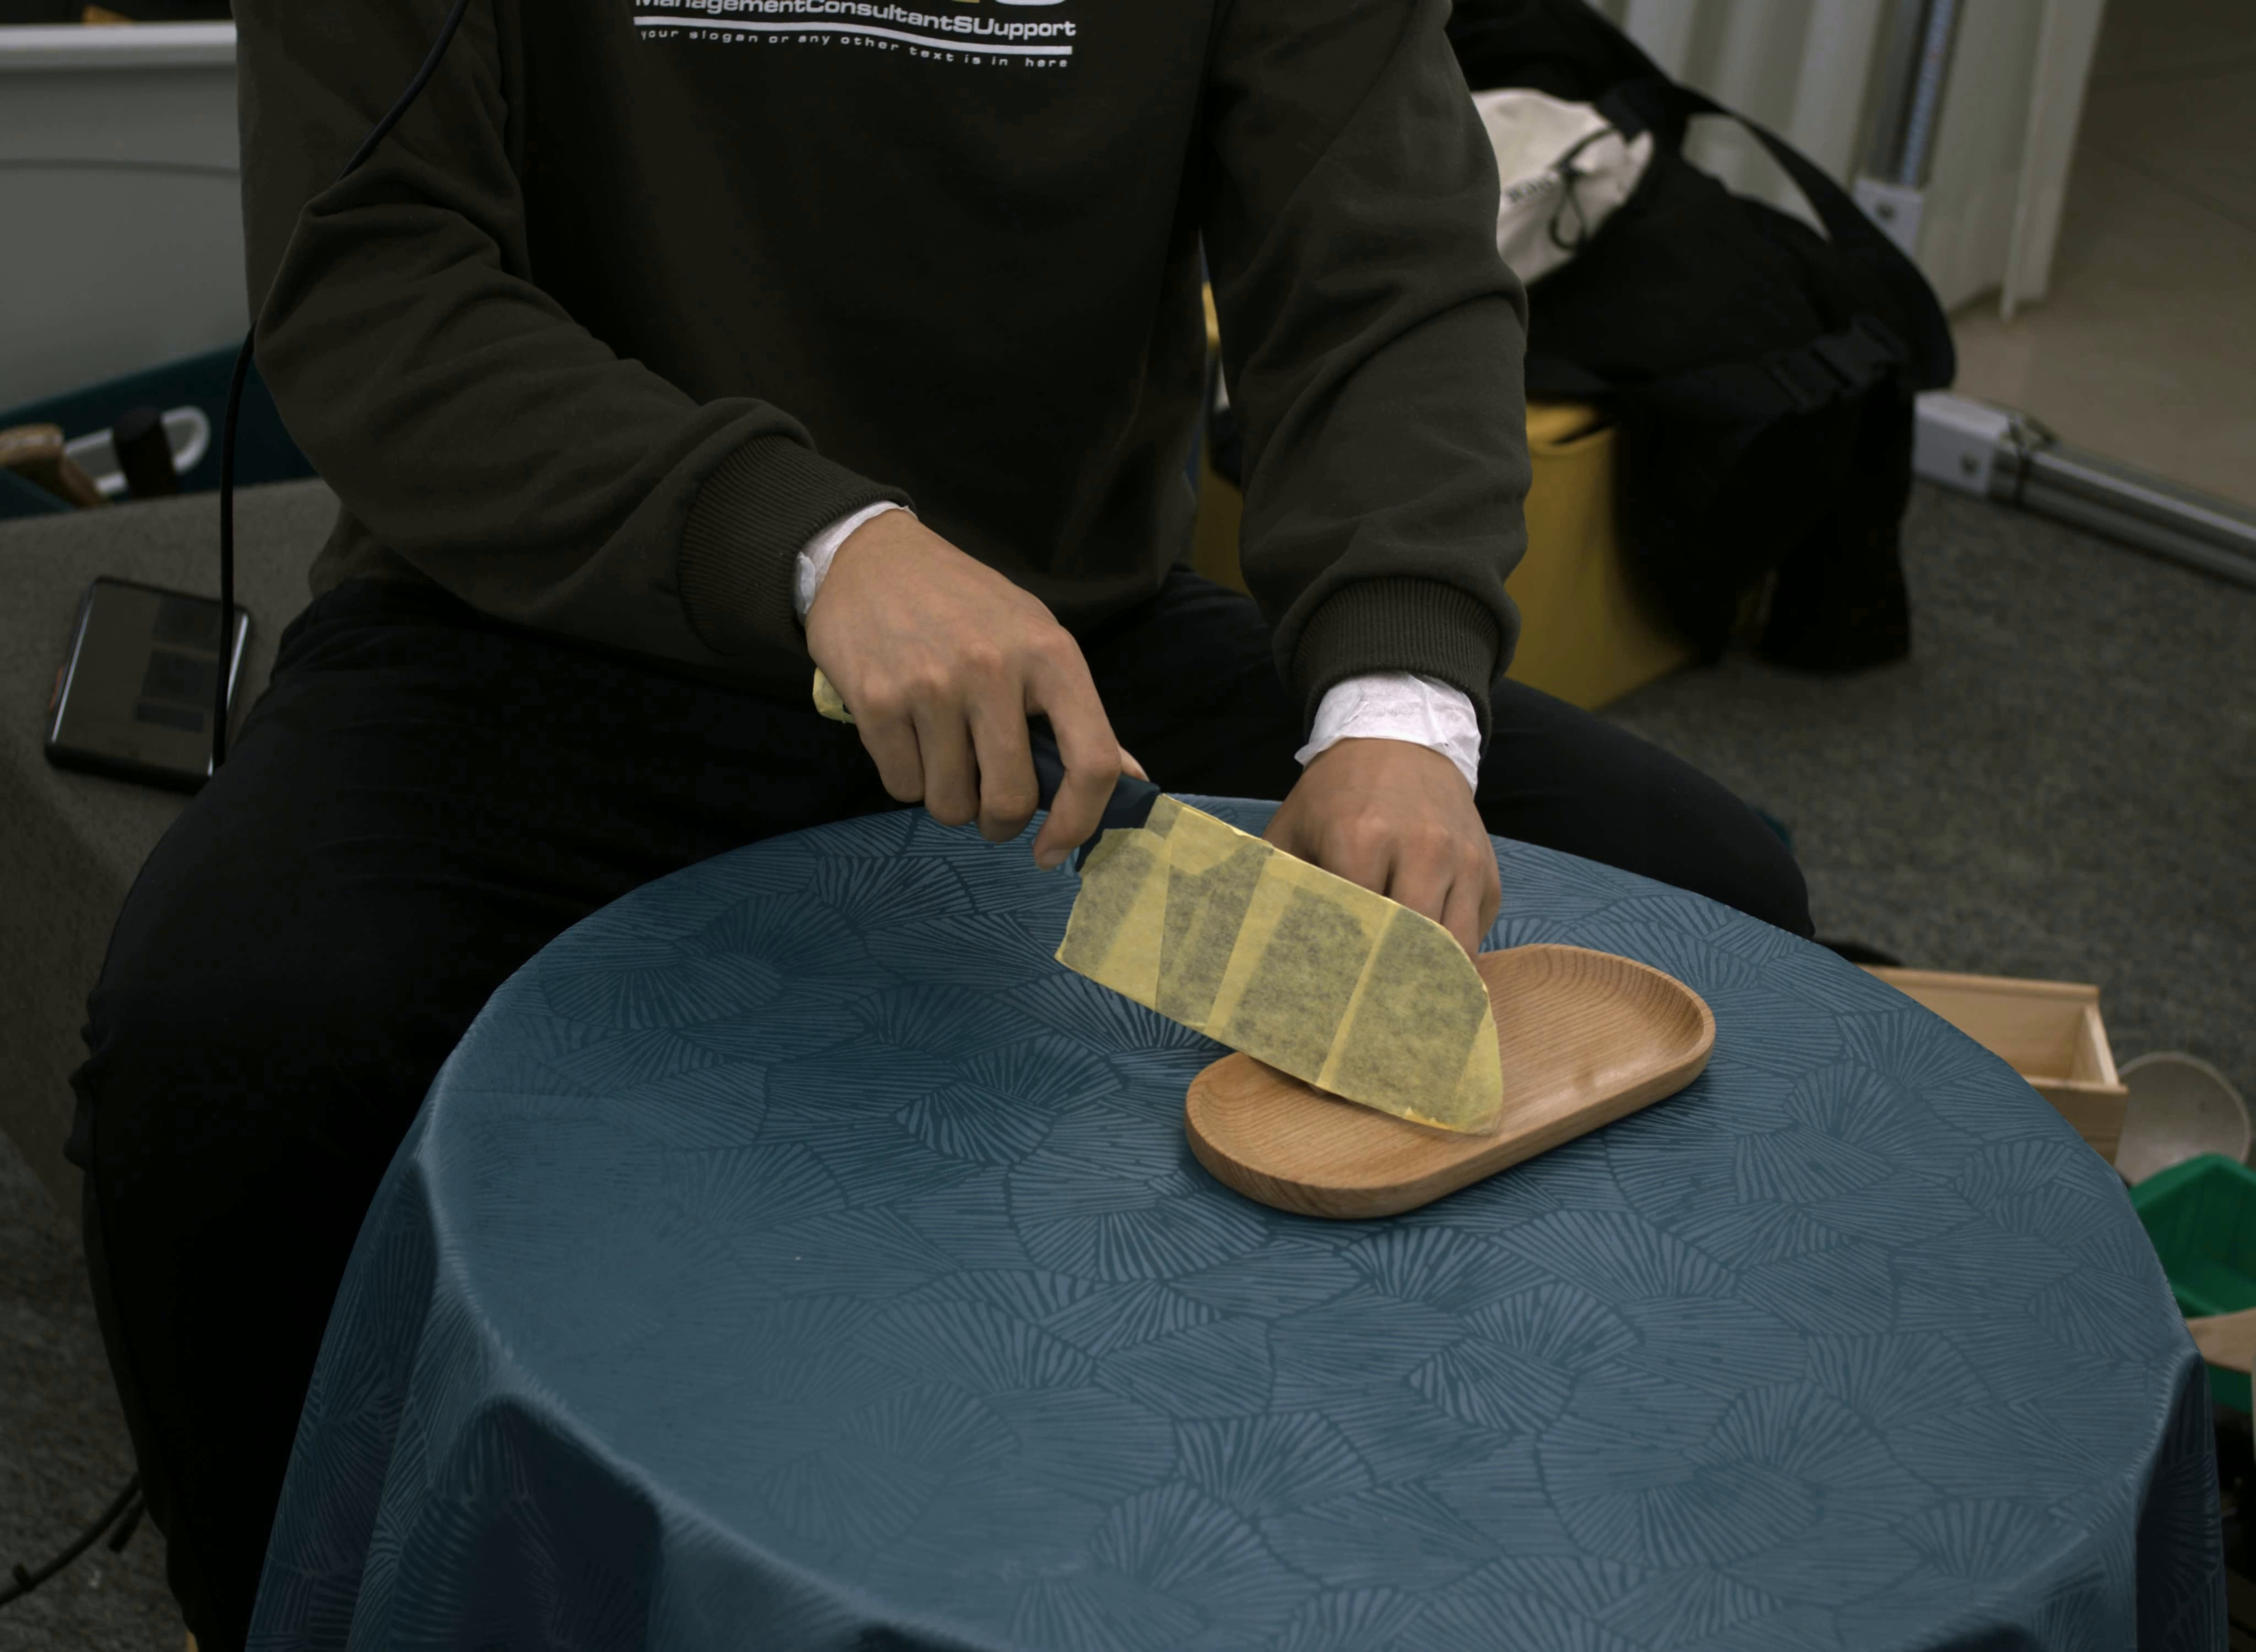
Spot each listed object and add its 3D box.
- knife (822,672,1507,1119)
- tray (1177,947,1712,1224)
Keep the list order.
[{"bbox_3d":[0.009,0.023,1.879,0.291,0.081,0.027,28,11,19],"label":"knife"},{"bbox_3d":[0.113,0.091,1.879,0.230,0.020,0.102,-21,35,-40],"label":"tray"}]
